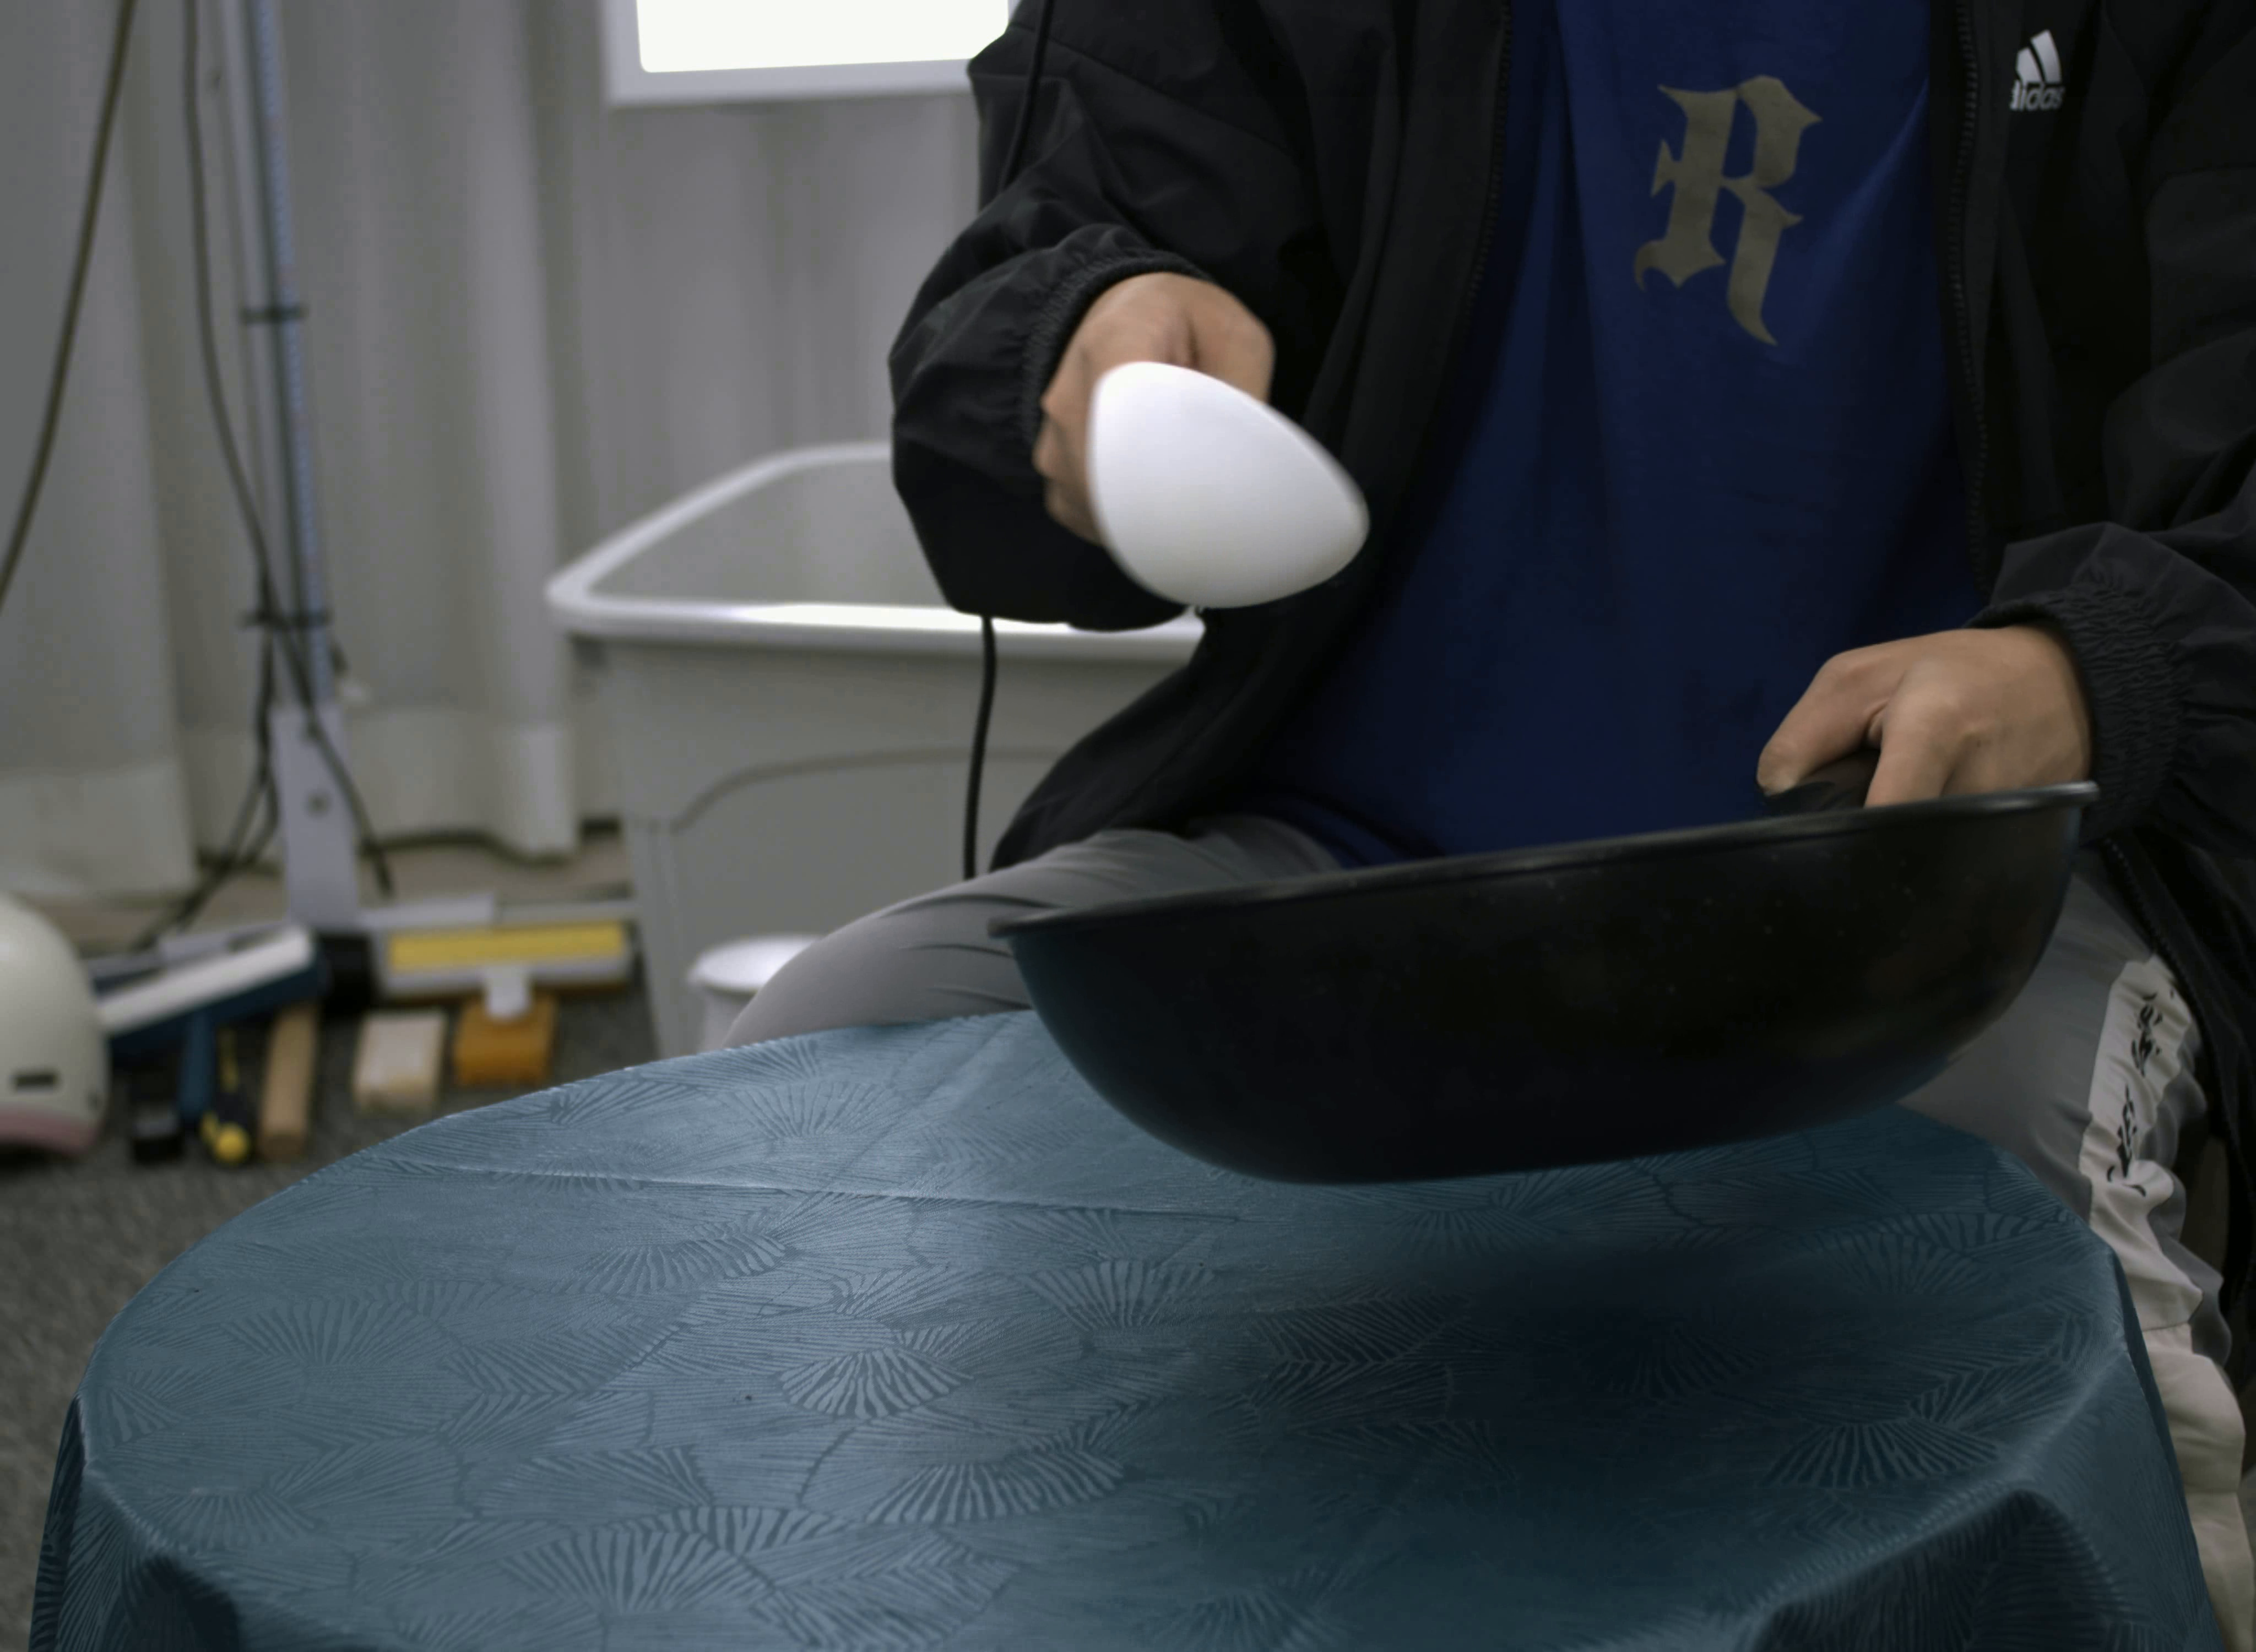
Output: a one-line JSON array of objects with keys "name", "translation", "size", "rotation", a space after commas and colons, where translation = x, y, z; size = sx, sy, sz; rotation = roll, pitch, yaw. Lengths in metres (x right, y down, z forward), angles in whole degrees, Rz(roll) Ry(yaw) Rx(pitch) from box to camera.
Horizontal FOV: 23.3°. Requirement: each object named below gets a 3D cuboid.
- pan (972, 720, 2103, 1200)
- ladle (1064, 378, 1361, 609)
[{"name": "pan", "translation": [0.154, 0.035, 1.572], "size": [0.310, 0.112, 0.475], "rotation": [-6, 0, 29]}, {"name": "ladle", "translation": [0.026, -0.109, 1.691], "size": [0.090, 0.070, 0.294], "rotation": [20, 8, 0]}]
